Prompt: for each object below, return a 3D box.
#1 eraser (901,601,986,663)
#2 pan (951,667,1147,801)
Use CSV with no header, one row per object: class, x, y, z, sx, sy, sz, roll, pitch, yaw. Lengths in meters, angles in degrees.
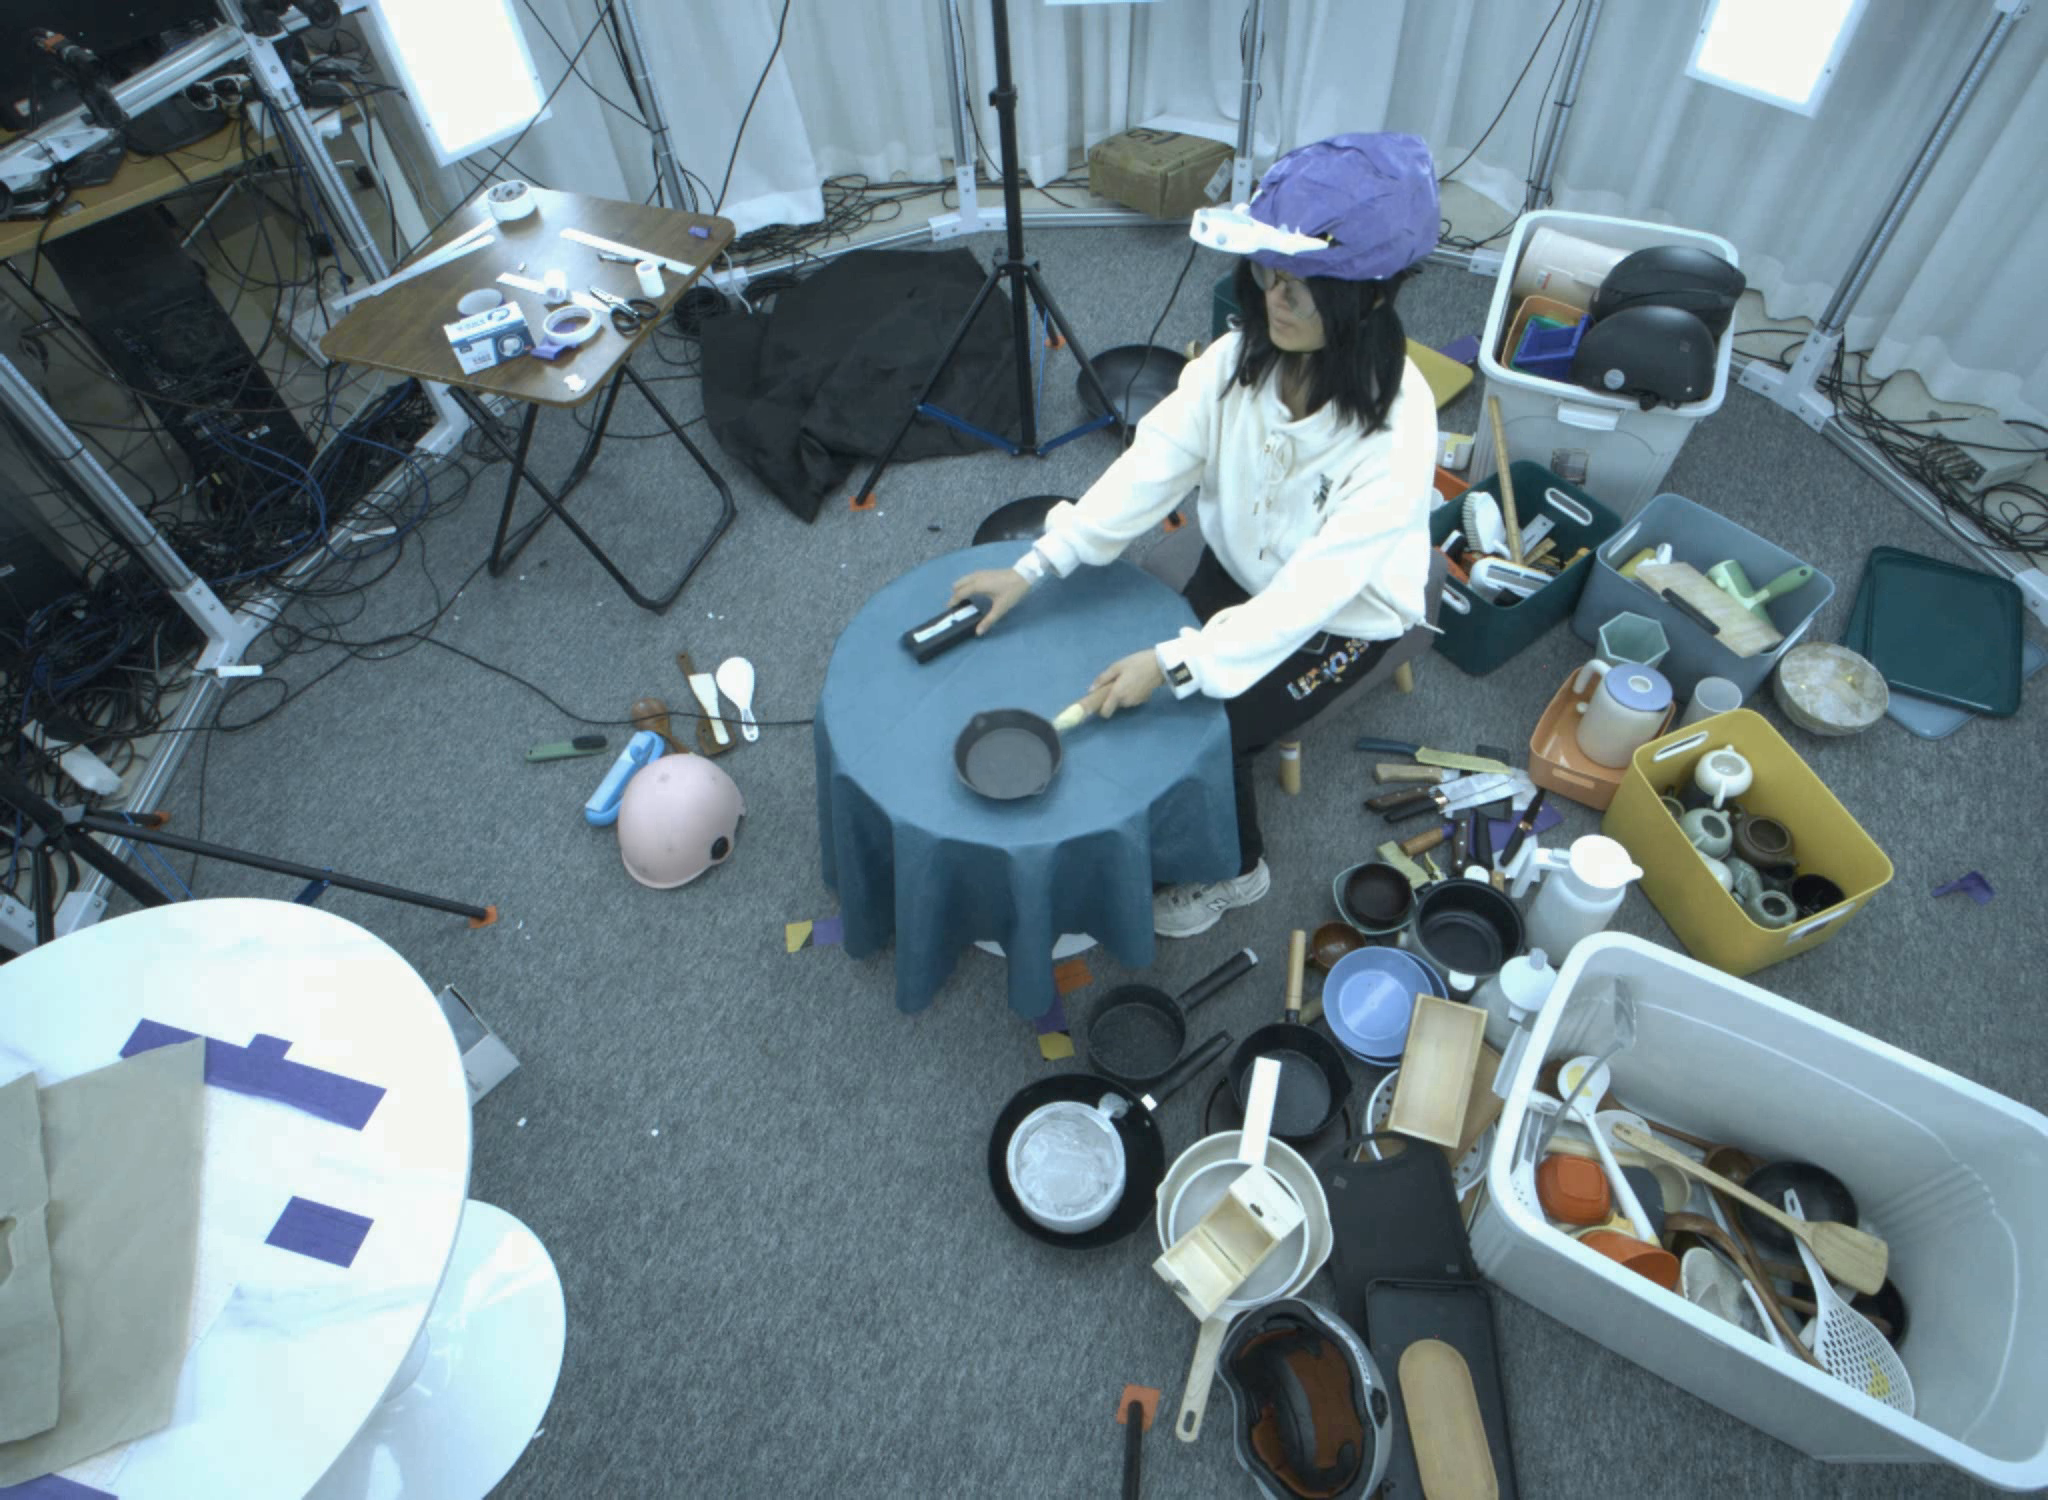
eraser,-0.125,-0.184,1.905,0.126,0.031,0.052,-29,58,-18
pan,0.046,-0.032,1.776,0.326,0.050,0.166,-29,59,-17
